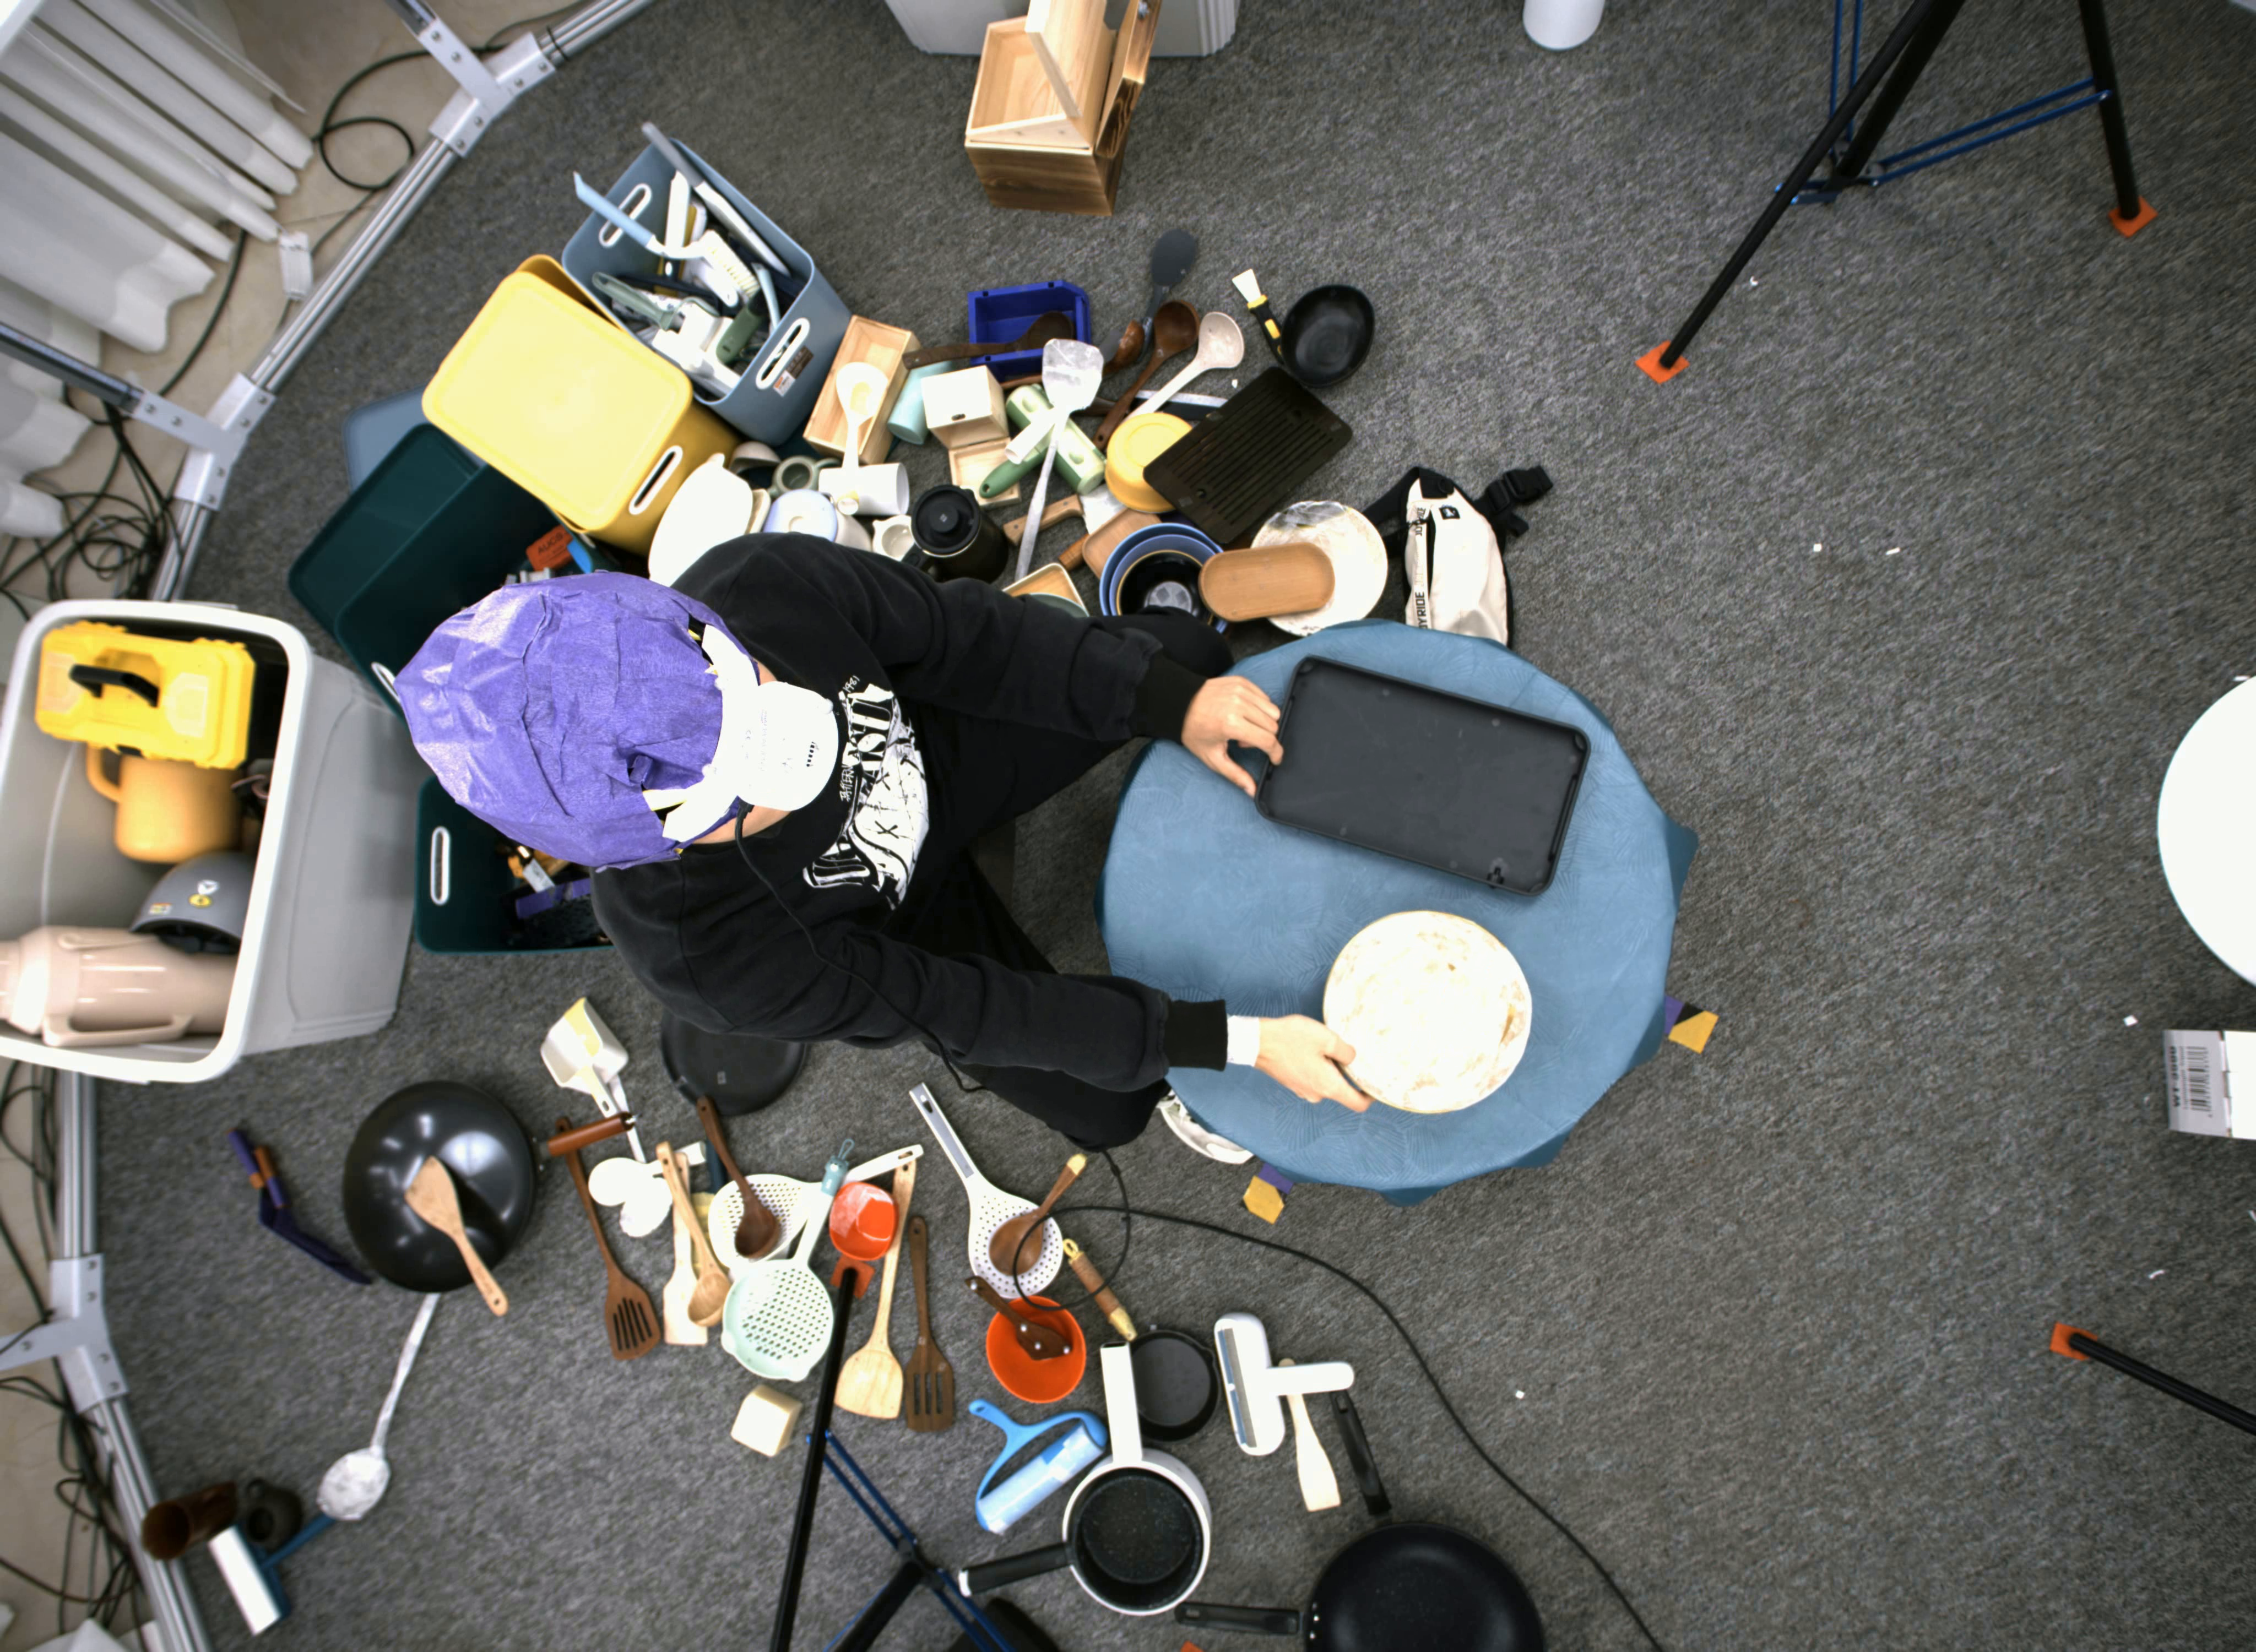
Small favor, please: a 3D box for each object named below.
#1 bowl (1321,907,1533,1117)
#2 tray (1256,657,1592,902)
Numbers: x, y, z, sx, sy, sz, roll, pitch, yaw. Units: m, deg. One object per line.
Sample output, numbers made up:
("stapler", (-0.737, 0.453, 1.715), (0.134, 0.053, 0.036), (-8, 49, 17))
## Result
("bowl", (0.299, 0.182, 1.400), (0.215, 0.094, 0.214), (0, 90, 10))
("tray", (0.308, -0.051, 1.448), (0.318, 0.037, 0.184), (18, 89, 11))
